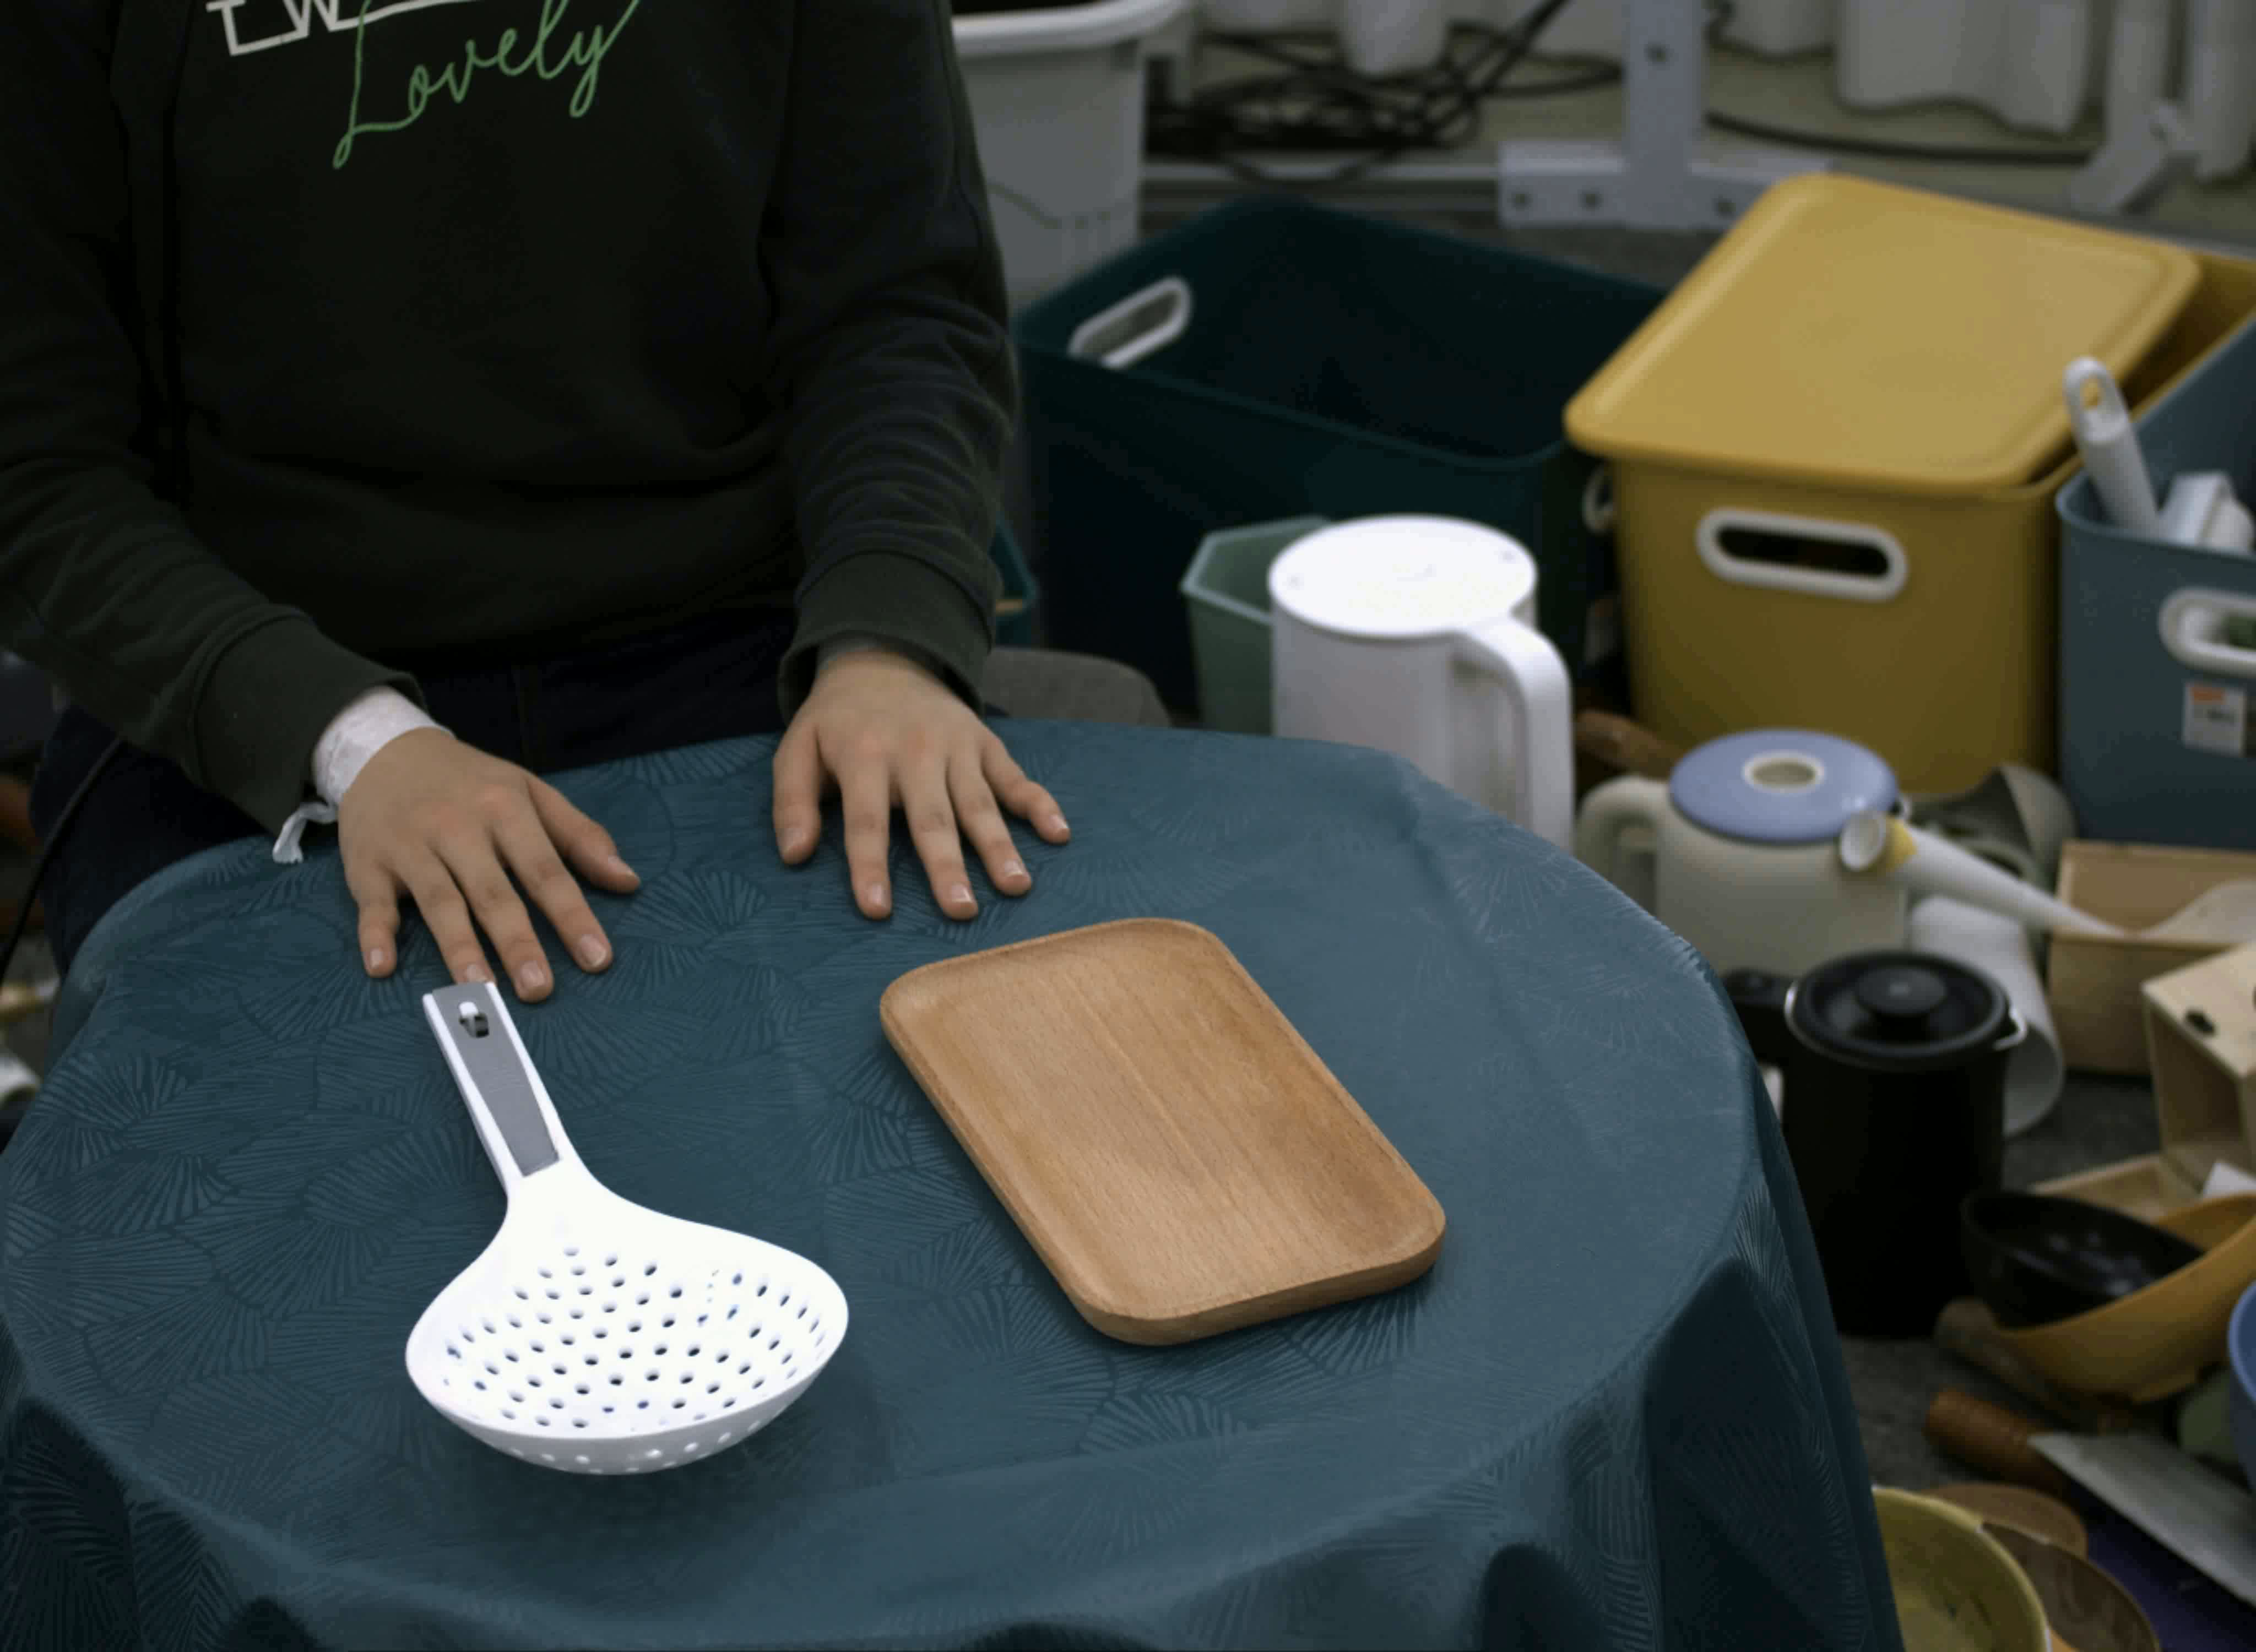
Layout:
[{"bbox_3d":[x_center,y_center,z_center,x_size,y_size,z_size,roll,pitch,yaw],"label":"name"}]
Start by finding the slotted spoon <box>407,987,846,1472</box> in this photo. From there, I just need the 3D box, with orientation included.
[{"bbox_3d":[-0.185,0.125,1.825,0.136,0.045,0.353,-8,27,-15],"label":"slotted spoon"}]

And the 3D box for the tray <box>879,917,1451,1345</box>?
[{"bbox_3d":[0.009,0.099,1.885,0.131,0.022,0.252,-10,27,-18],"label":"tray"}]
